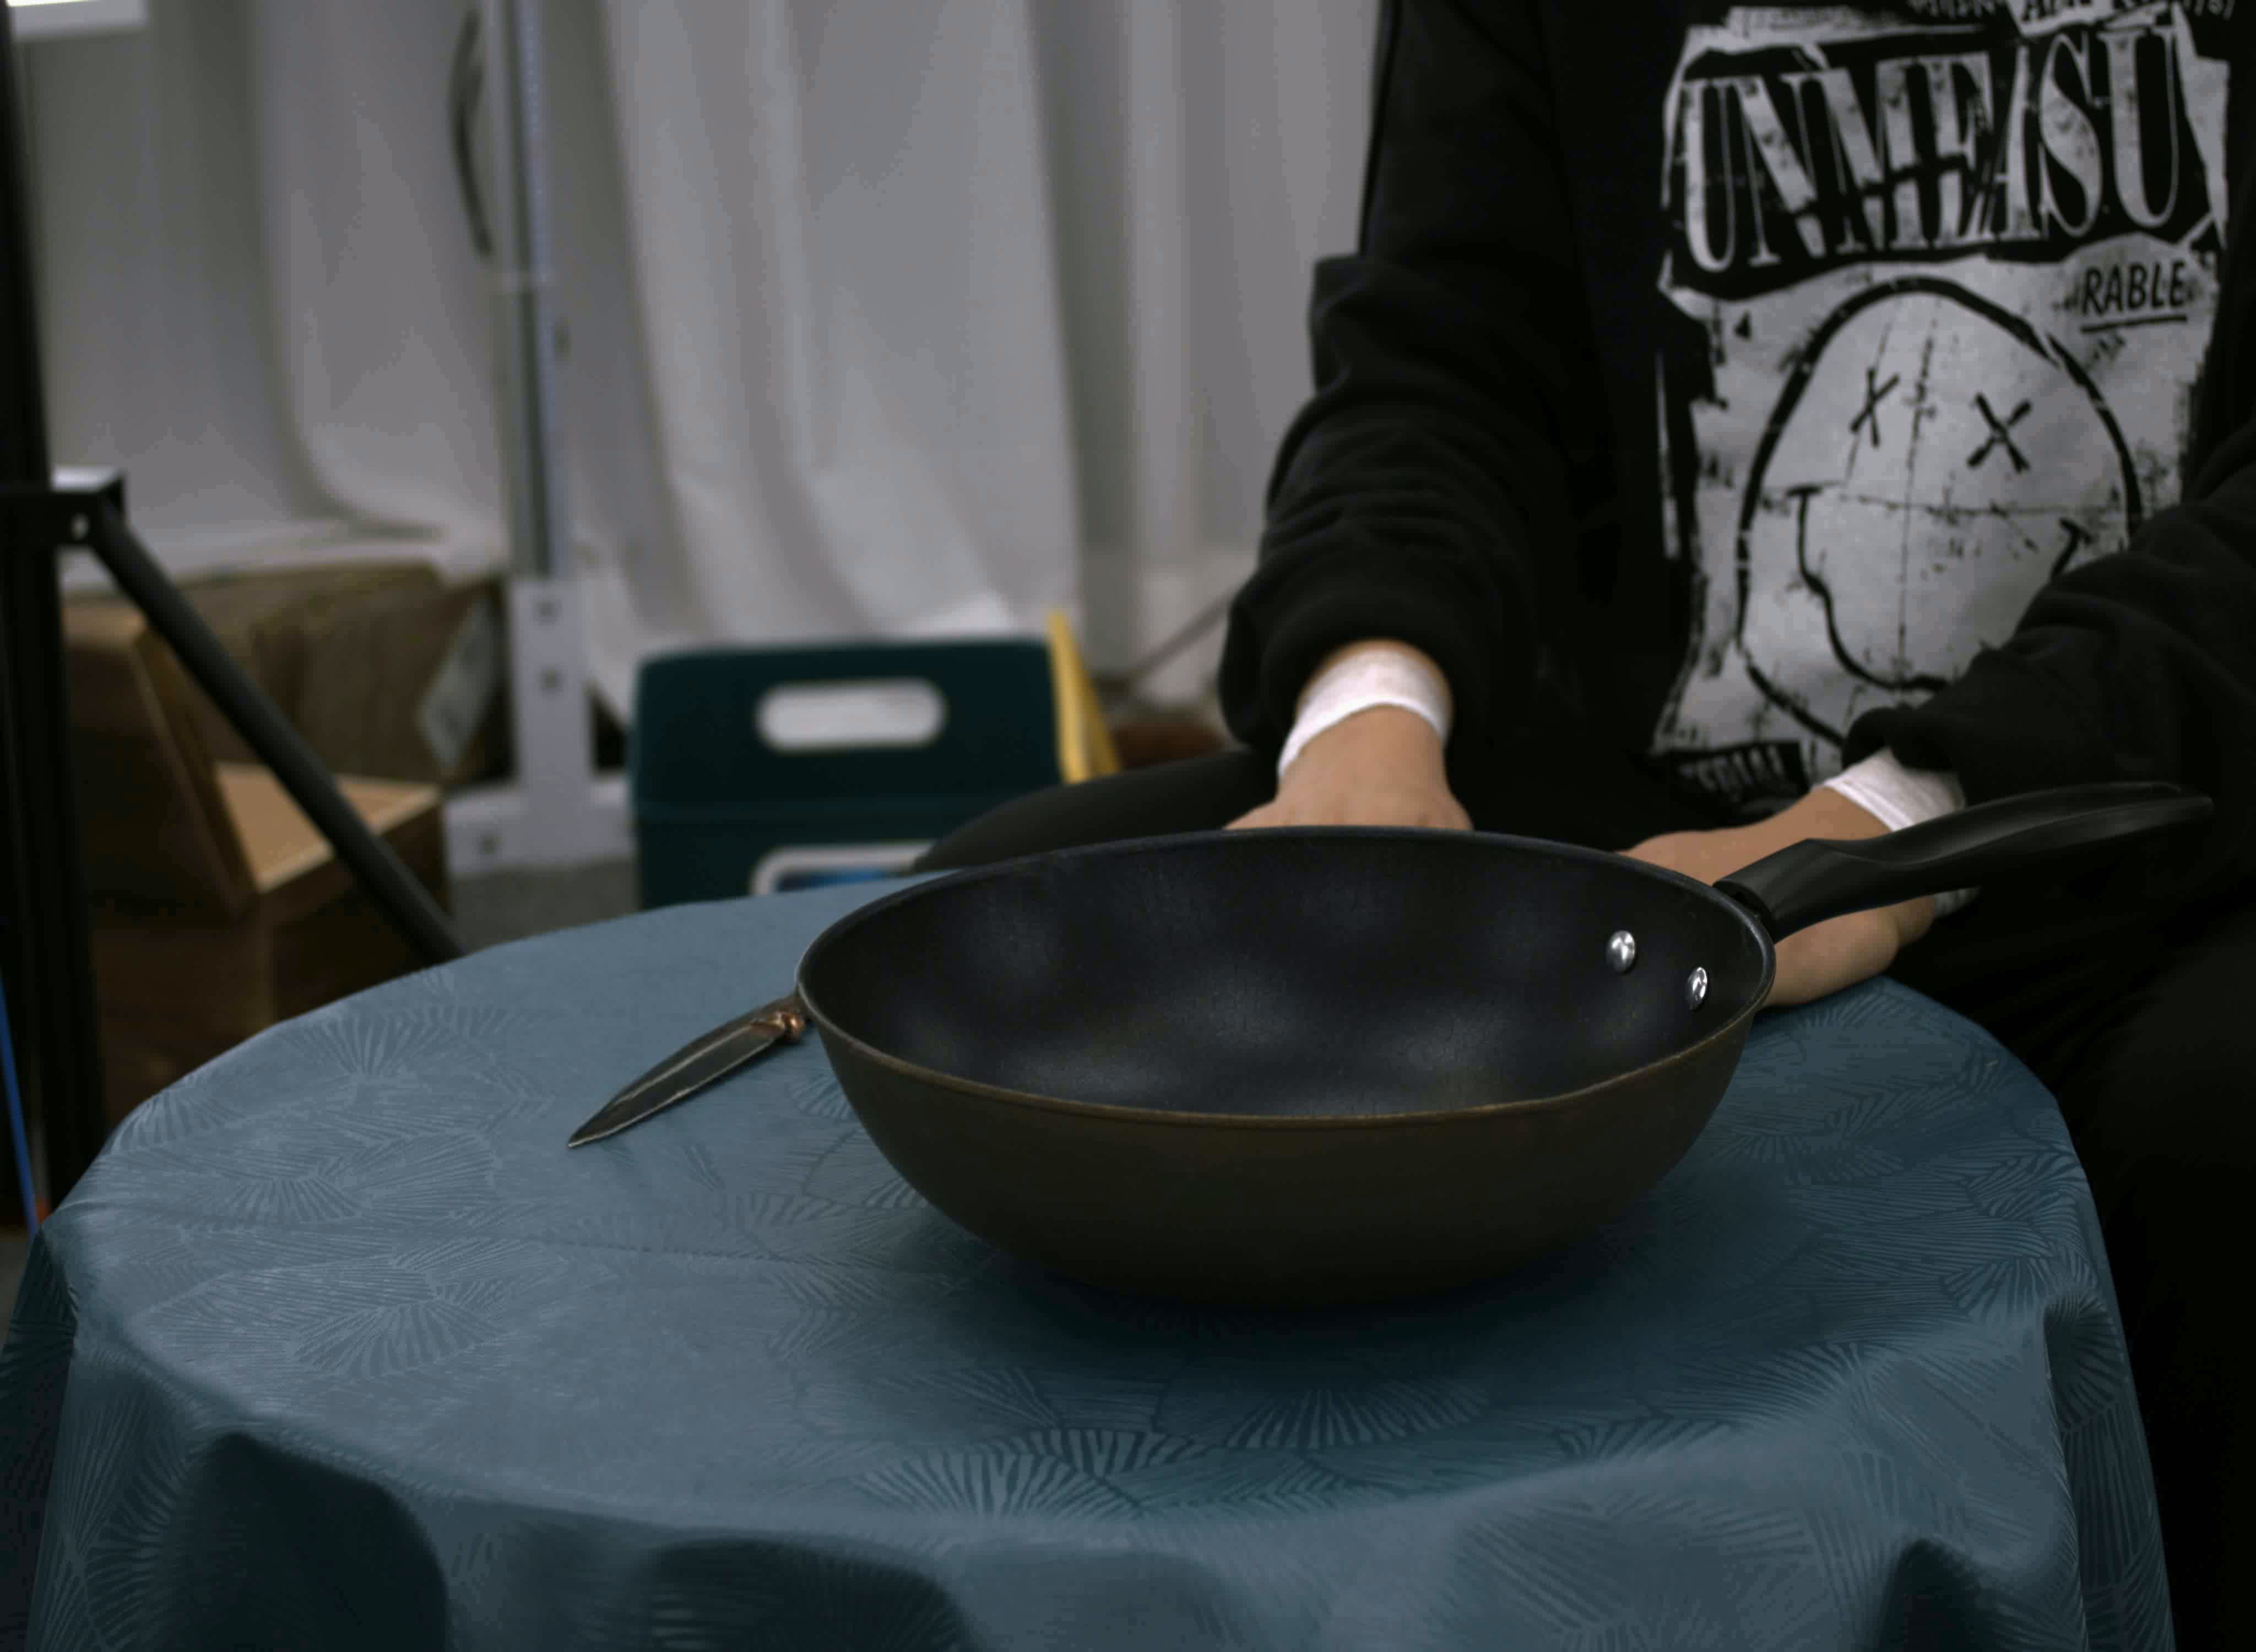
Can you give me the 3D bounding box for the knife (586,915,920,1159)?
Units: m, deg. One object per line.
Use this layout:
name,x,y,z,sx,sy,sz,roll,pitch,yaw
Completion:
knife,-0.118,0.067,1.706,0.026,0.017,0.222,21,25,20

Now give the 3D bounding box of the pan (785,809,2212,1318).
pan,0.123,0.063,1.549,0.453,0.087,0.294,-9,17,-25
